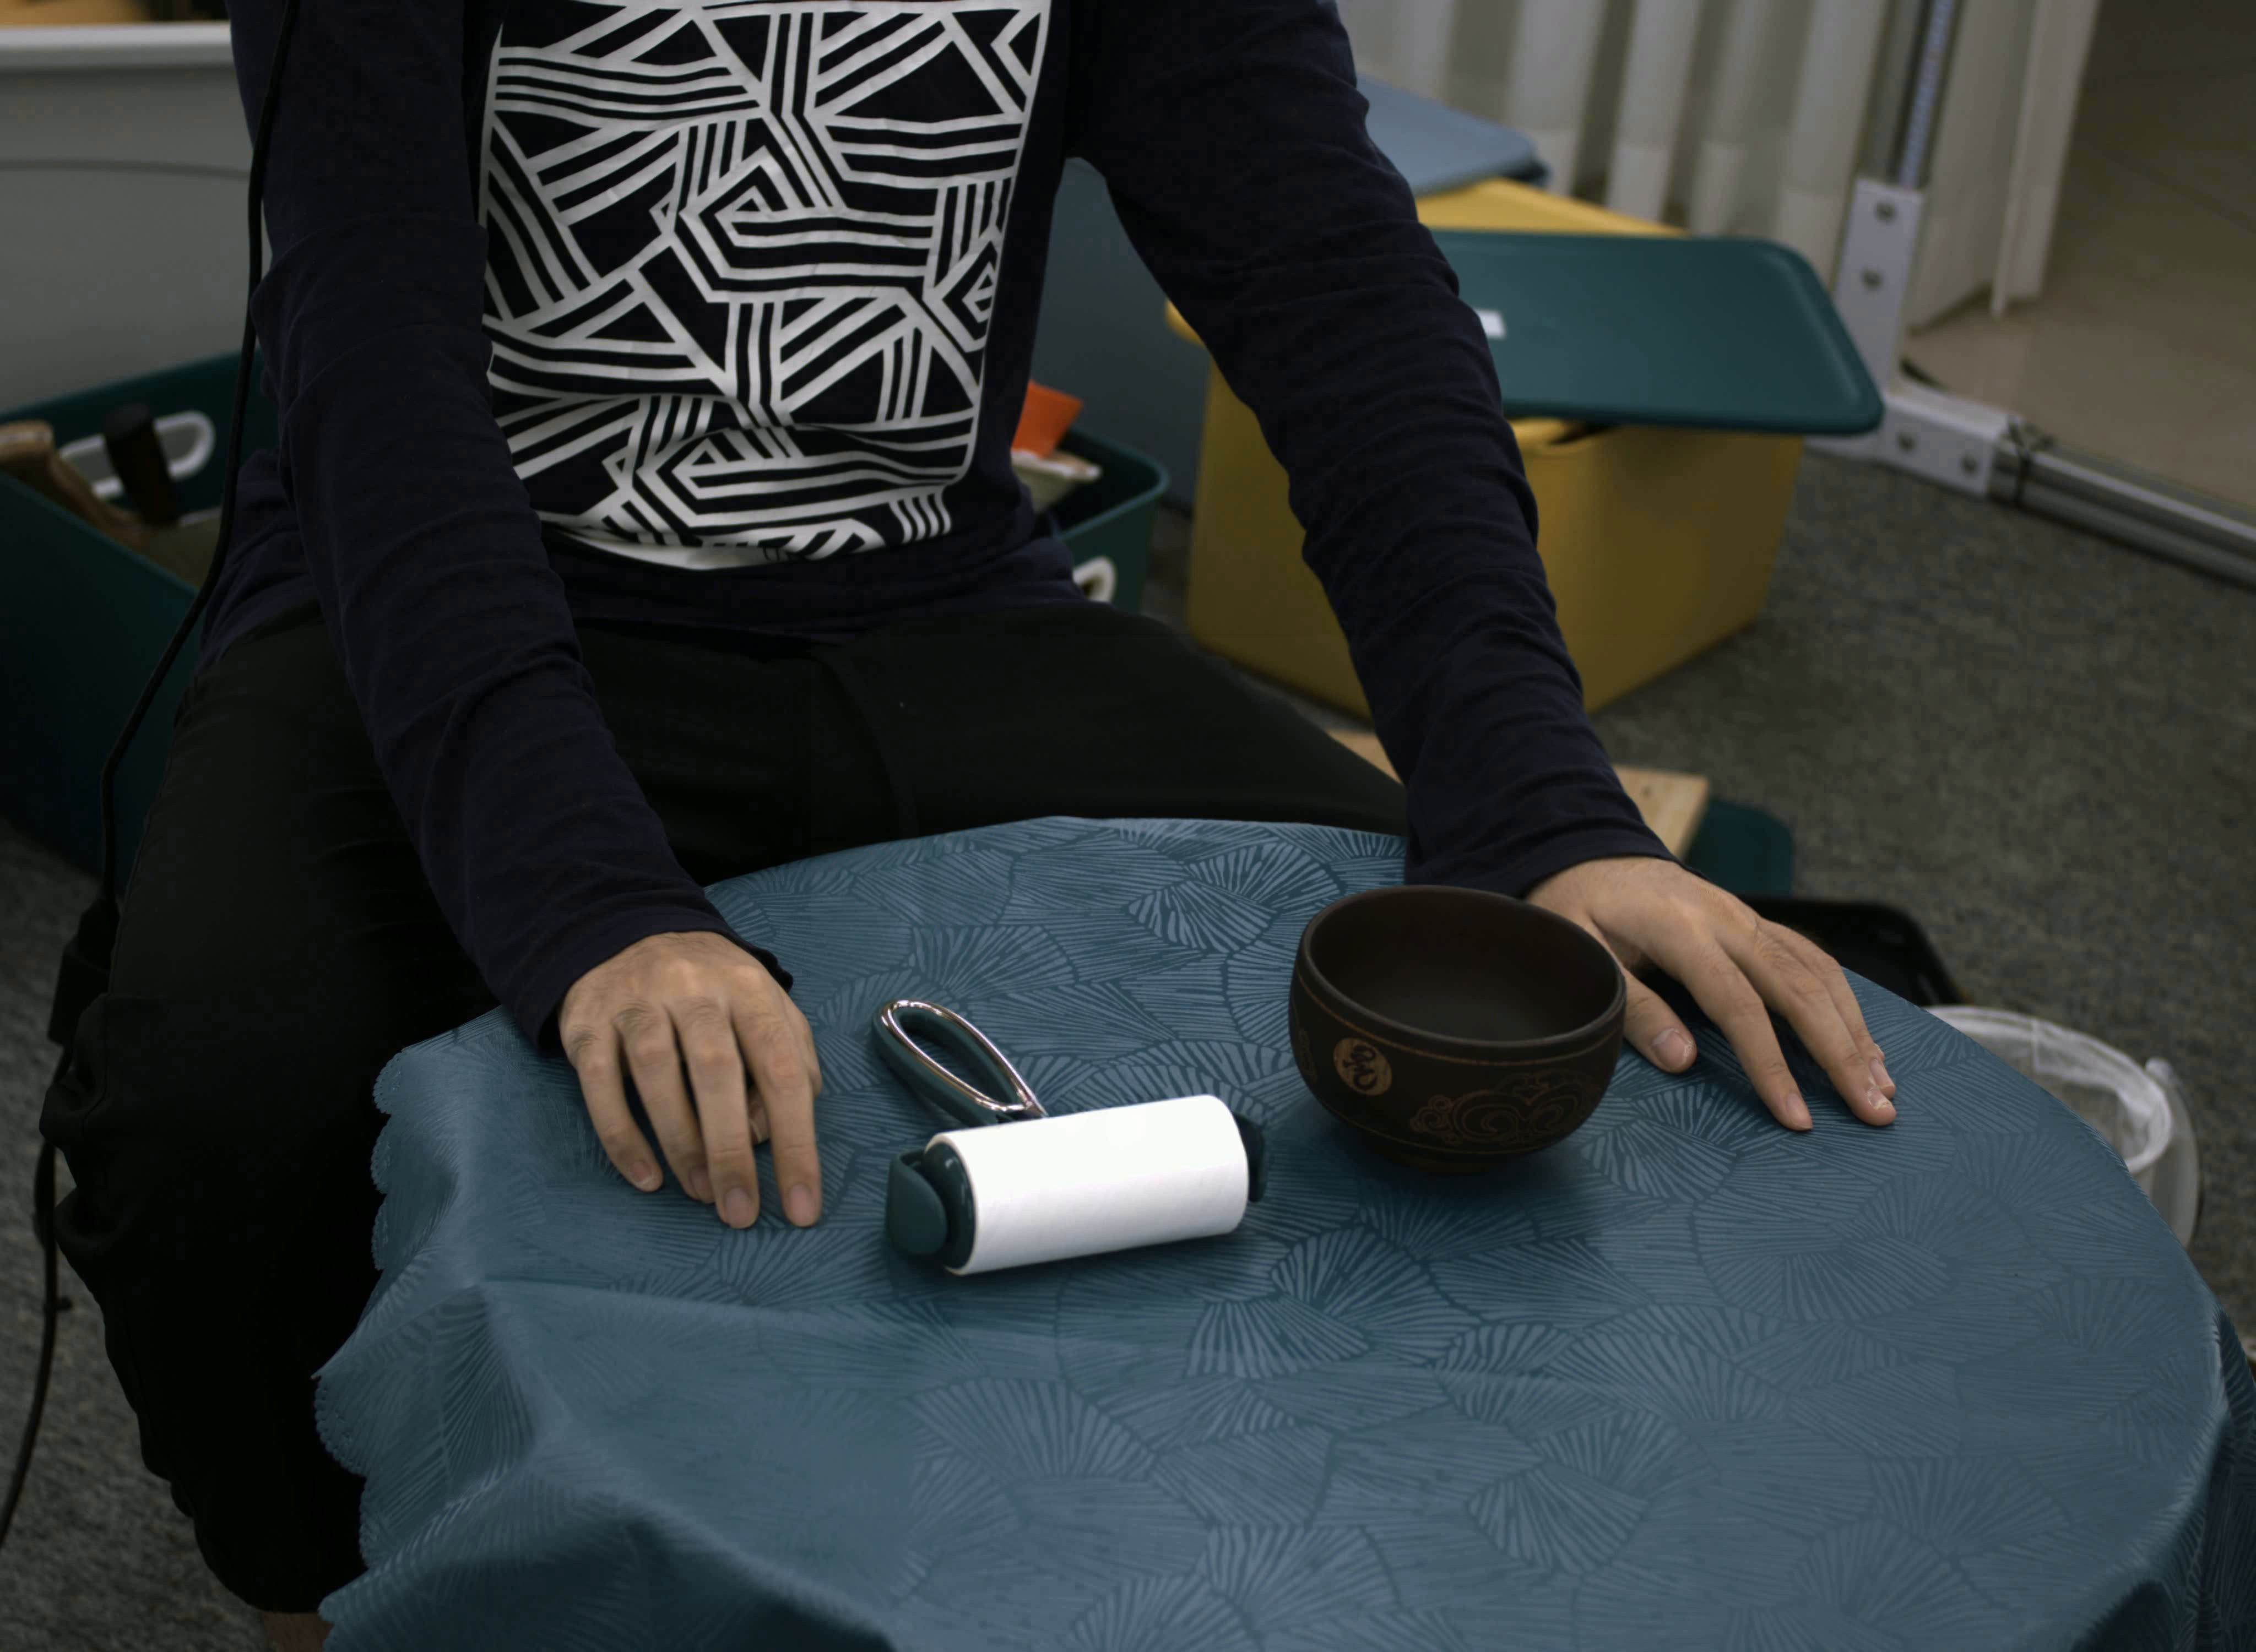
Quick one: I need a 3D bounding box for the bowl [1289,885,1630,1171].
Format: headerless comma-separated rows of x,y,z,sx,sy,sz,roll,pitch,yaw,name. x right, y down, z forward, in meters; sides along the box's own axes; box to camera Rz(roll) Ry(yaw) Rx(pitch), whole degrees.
0.113,0.076,1.846,0.117,0.069,0.119,3,26,-2,bowl

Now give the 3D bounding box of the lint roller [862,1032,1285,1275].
-0.045,0.092,1.815,0.133,0.048,0.181,-7,27,-25,lint roller
